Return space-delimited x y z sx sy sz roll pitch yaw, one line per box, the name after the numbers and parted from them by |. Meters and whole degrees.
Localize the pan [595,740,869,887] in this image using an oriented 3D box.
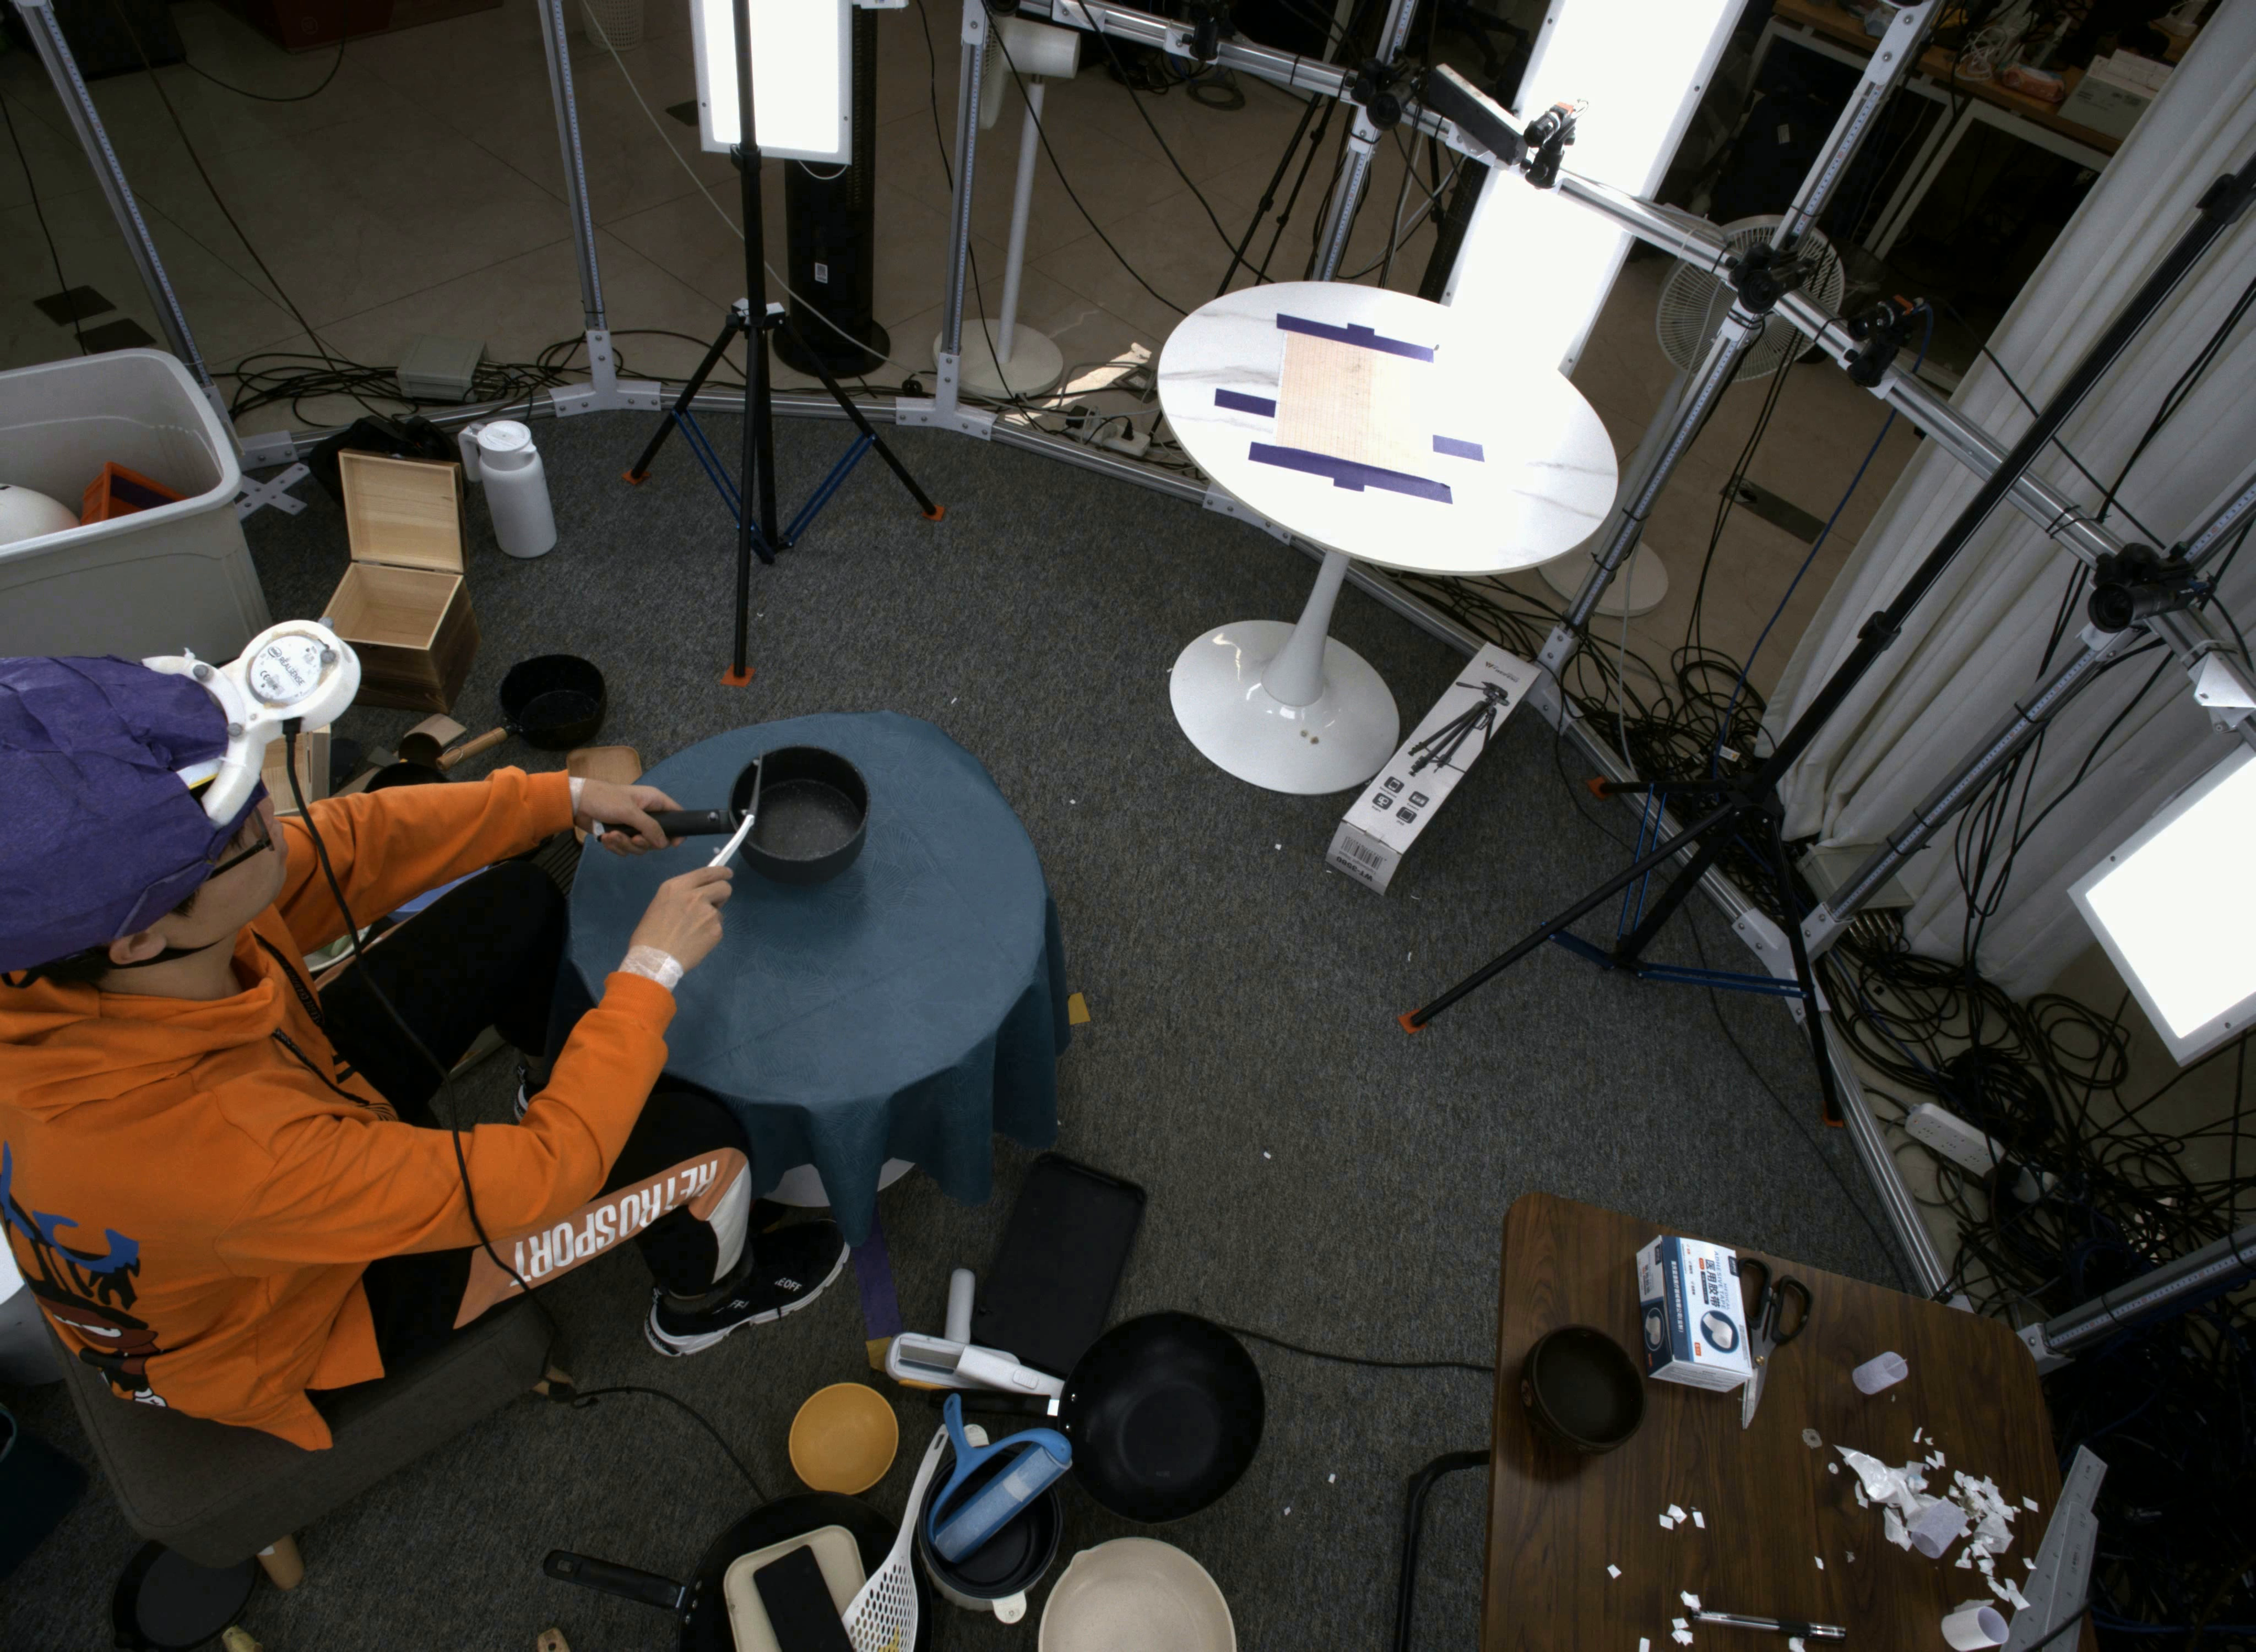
-0.483 -0.007 1.578 0.330 0.088 0.168 -6 59 -20 | pan

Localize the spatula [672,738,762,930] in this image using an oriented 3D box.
-0.464 0.005 1.499 0.032 0.060 0.282 12 43 -2 | spatula
